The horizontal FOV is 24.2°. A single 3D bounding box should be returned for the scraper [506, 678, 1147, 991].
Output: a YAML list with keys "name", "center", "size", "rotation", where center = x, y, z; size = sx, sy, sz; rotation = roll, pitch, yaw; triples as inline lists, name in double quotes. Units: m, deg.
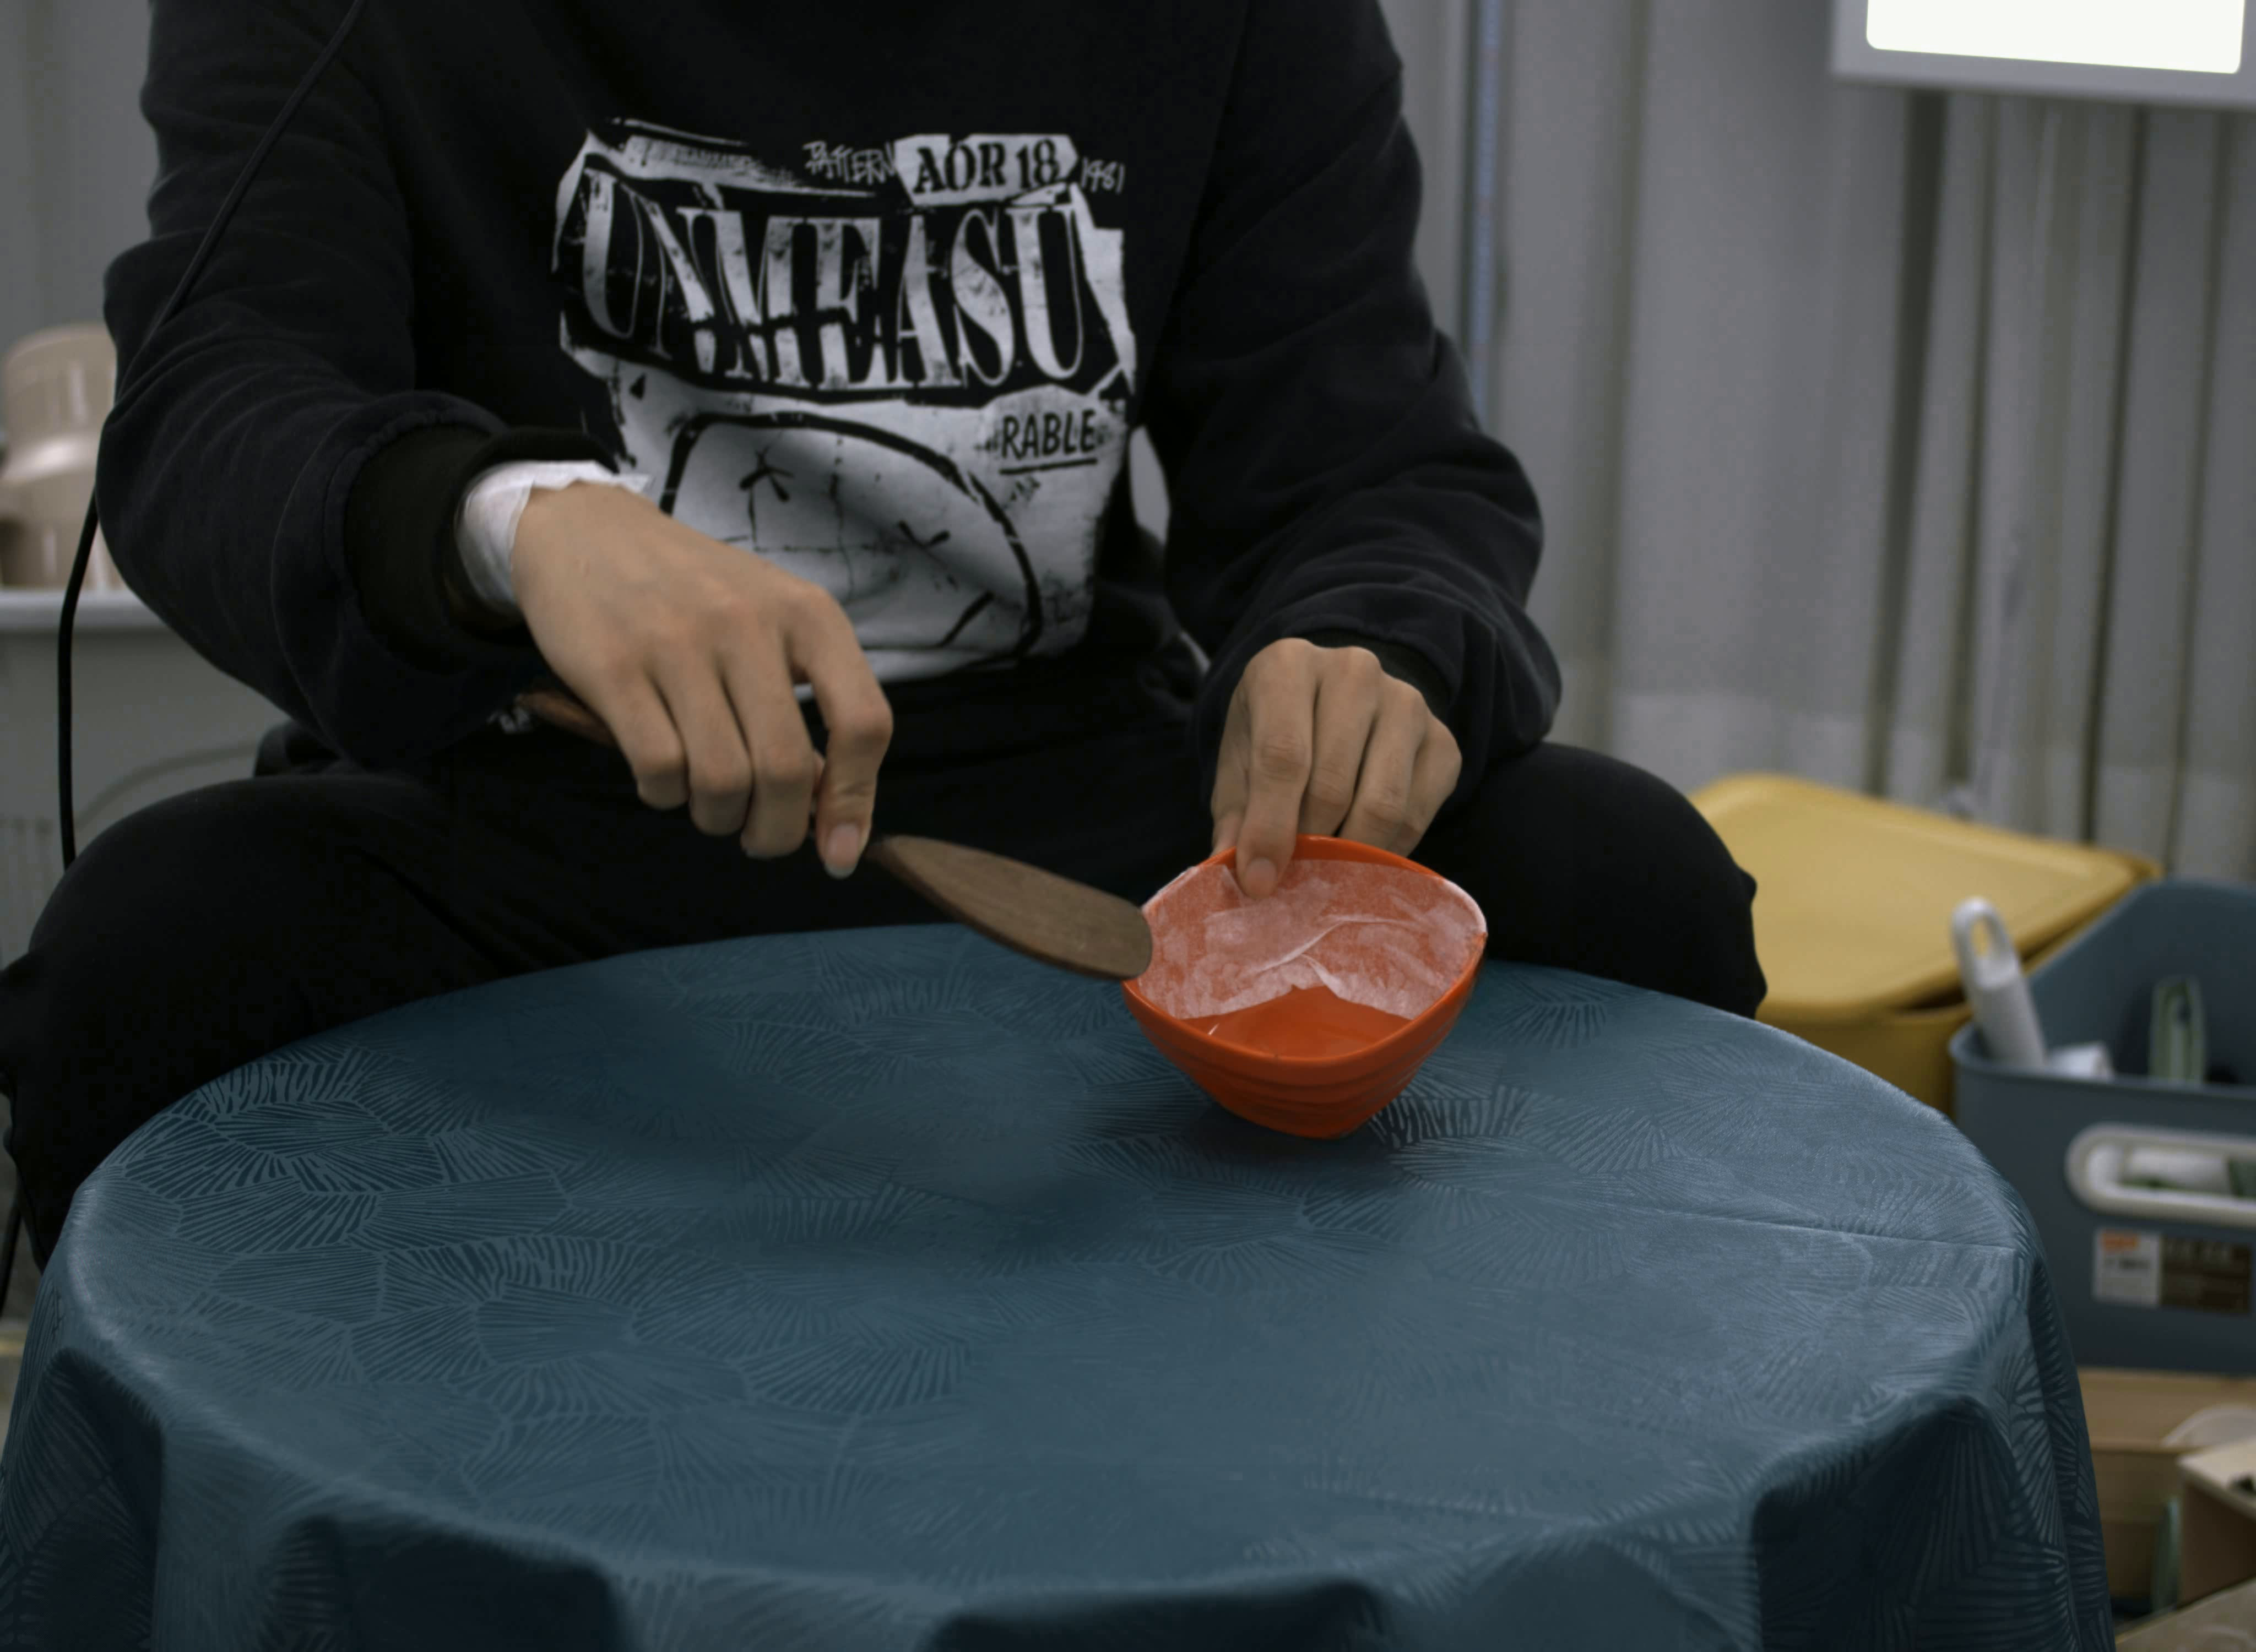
- name: "scraper"
  center: [-0.091, 0.001, 1.603]
  size: [0.211, 0.011, 0.075]
  rotation: [24, 17, -7]

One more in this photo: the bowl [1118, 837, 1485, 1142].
- name: "bowl"
  center: [0.057, 0.058, 1.691]
  size: [0.118, 0.052, 0.118]
  rotation: [-3, 38, 3]
